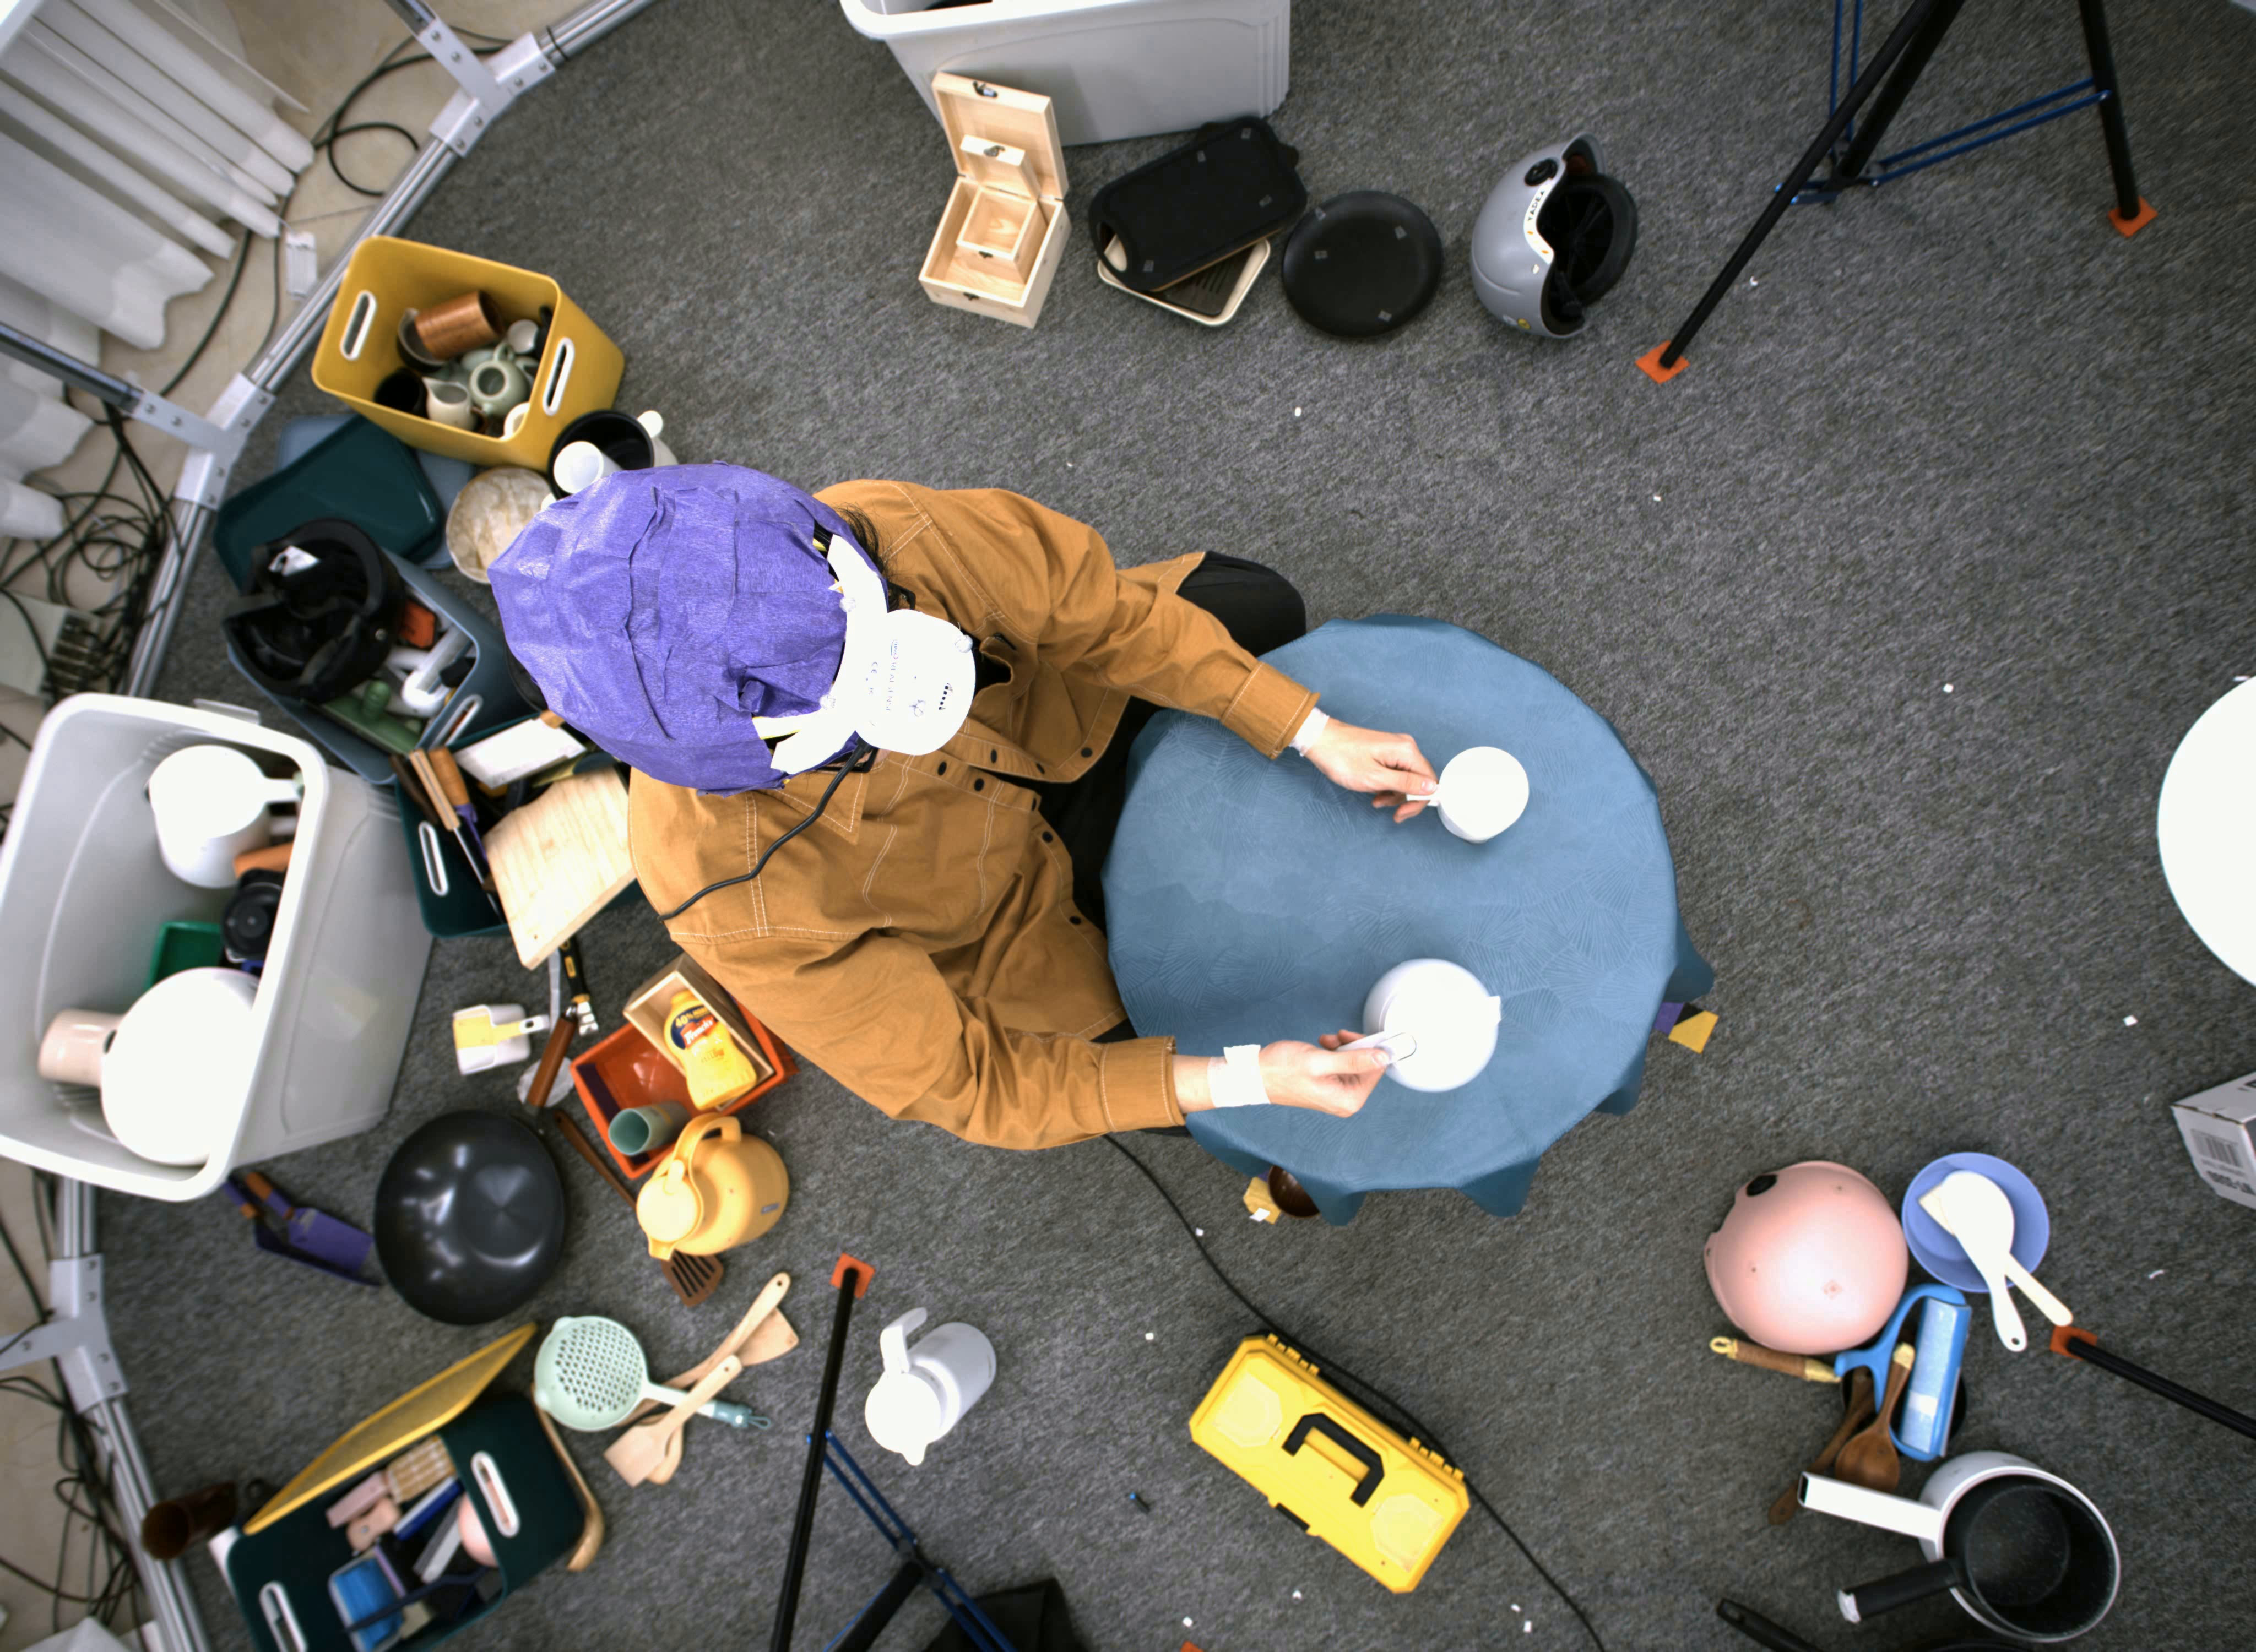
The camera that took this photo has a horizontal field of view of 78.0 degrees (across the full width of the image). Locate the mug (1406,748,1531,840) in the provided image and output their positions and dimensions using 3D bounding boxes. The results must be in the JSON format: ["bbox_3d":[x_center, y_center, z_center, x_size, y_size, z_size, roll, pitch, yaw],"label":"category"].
[{"bbox_3d":[0.343,-0.032,1.398,0.119,0.102,0.084,-1,86,9],"label":"mug"}]

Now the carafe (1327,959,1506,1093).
[{"bbox_3d":[0.274,0.200,1.328,0.169,0.248,0.131,-22,82,8],"label":"carafe"}]
